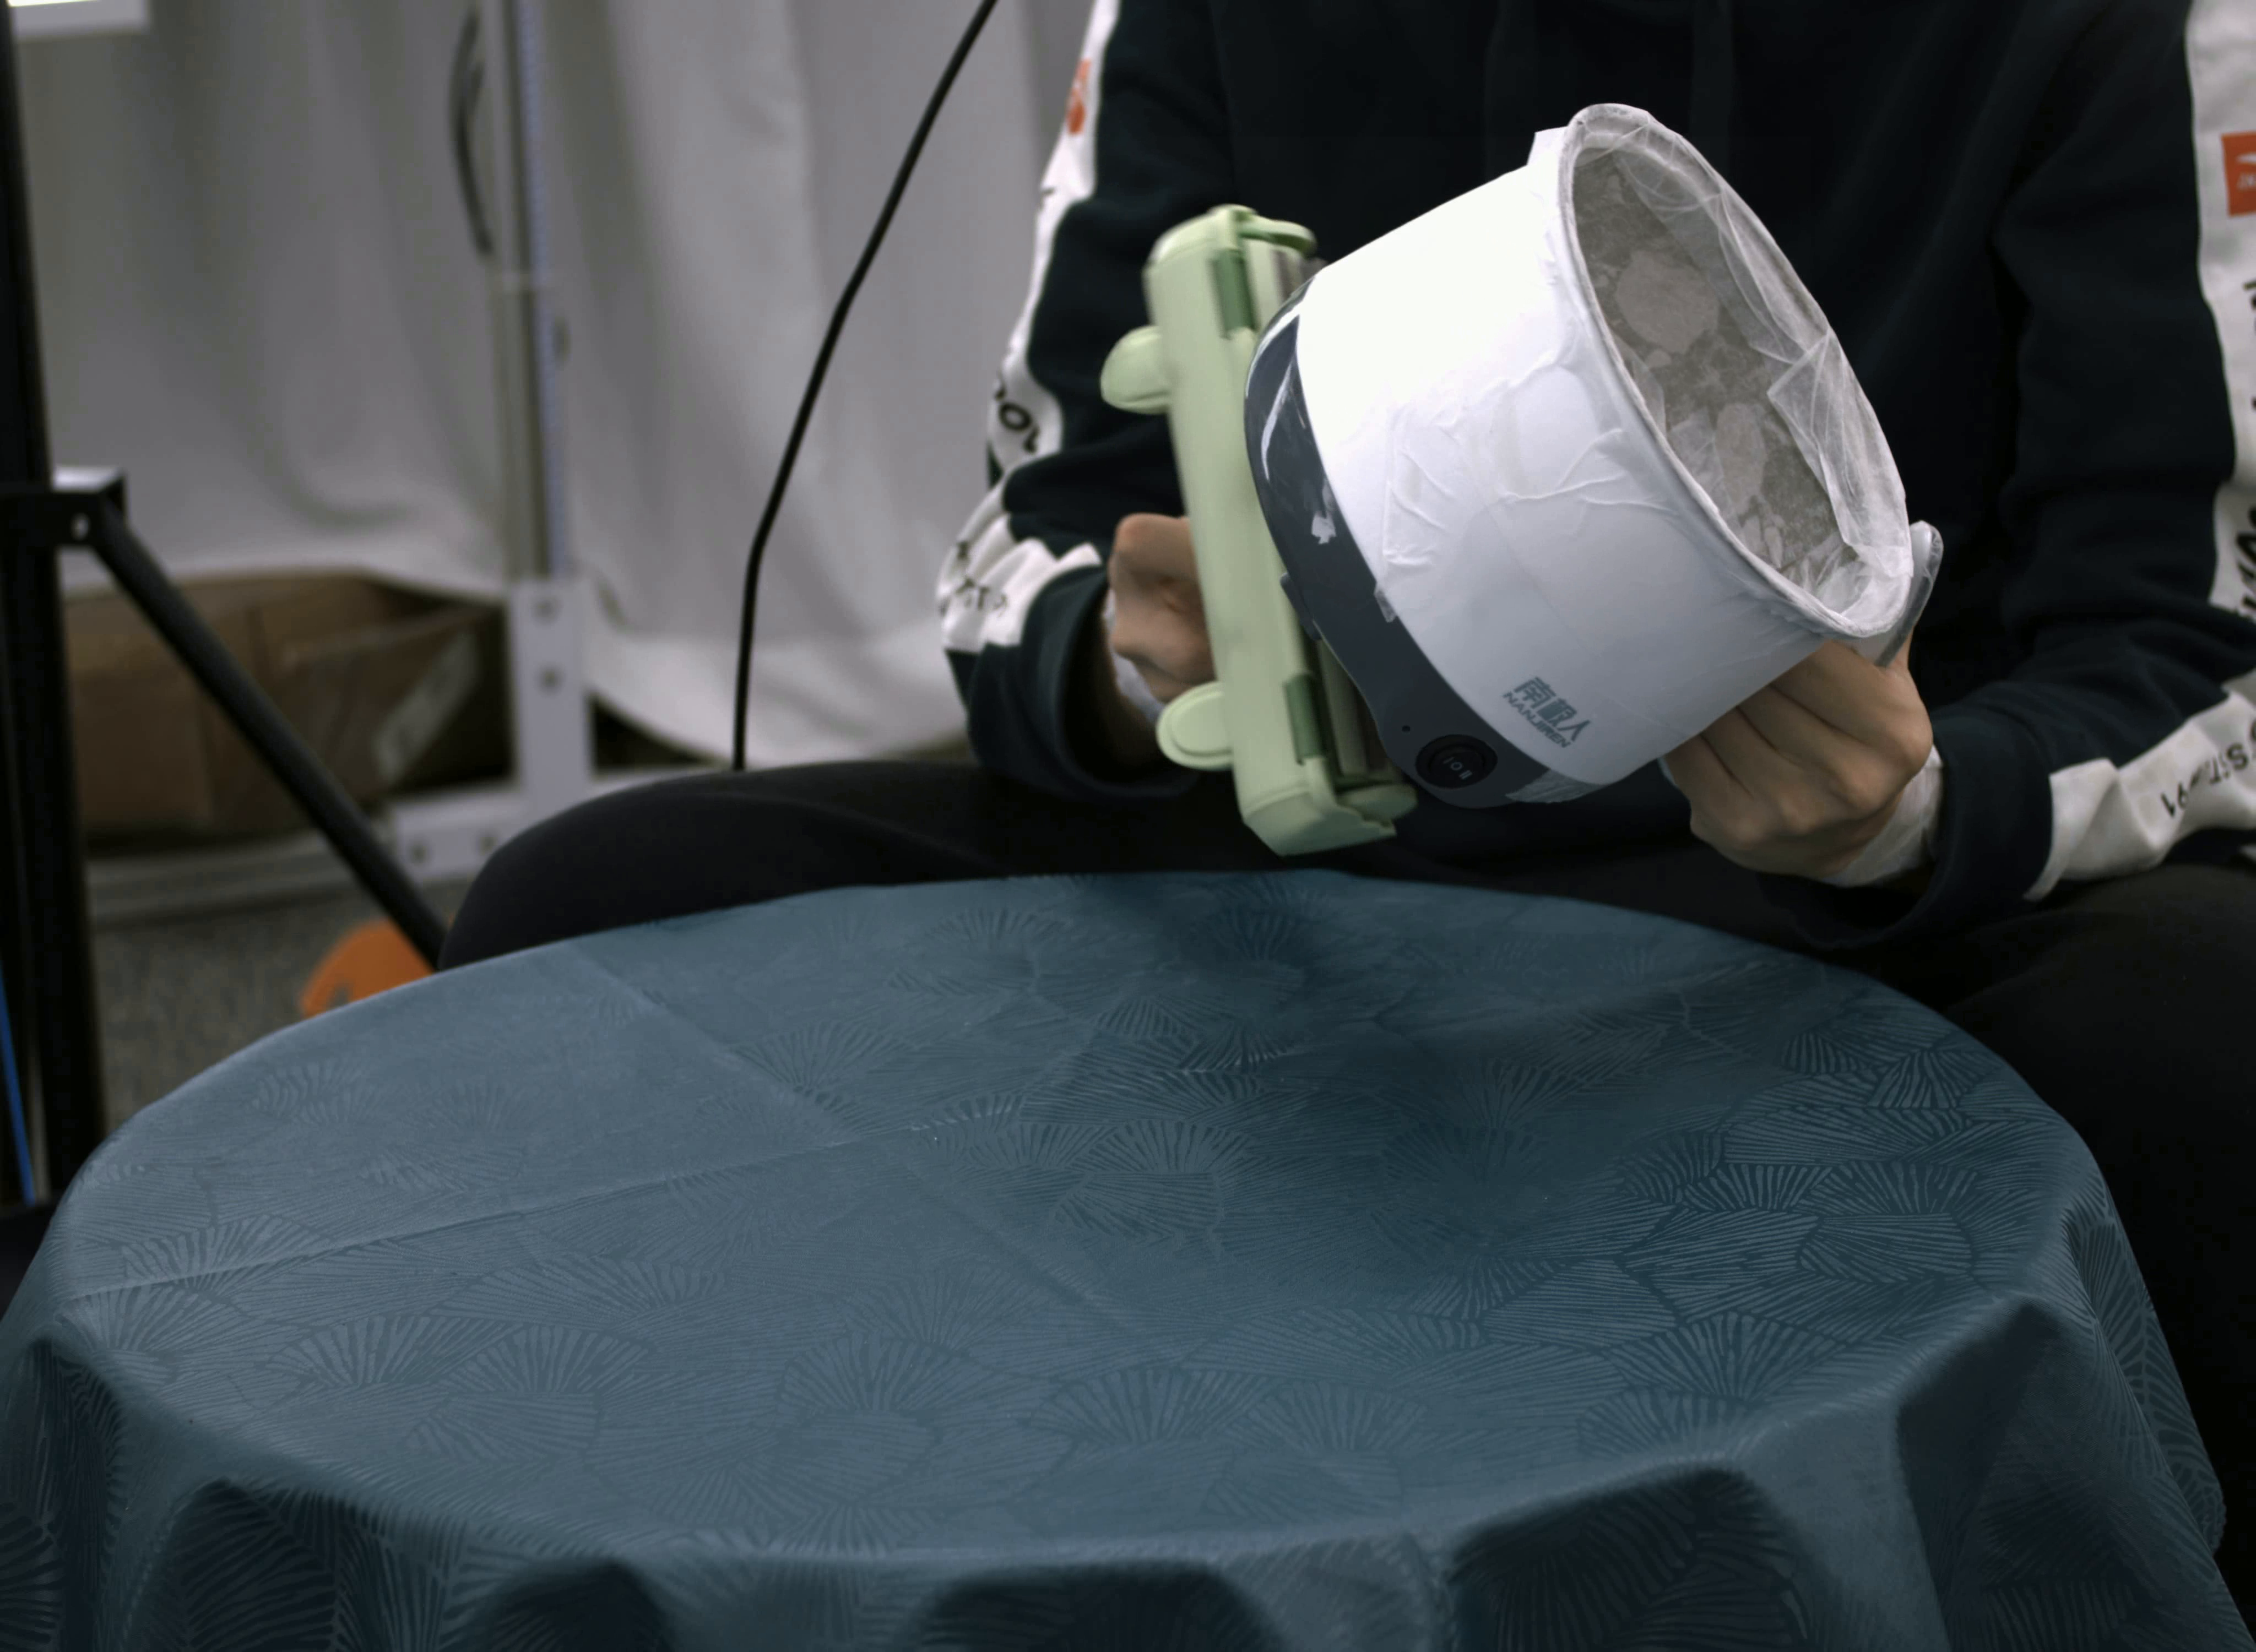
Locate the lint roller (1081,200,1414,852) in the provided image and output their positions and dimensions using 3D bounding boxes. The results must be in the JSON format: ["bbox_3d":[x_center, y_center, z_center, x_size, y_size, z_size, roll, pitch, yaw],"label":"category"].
[{"bbox_3d":[0.028,-0.077,1.691,0.081,0.200,0.184,-8,-13,-12],"label":"lint roller"}]

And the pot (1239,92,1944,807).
[{"bbox_3d":[0.147,-0.092,1.589,0.138,0.228,0.181,-30,41,29],"label":"pot"}]
